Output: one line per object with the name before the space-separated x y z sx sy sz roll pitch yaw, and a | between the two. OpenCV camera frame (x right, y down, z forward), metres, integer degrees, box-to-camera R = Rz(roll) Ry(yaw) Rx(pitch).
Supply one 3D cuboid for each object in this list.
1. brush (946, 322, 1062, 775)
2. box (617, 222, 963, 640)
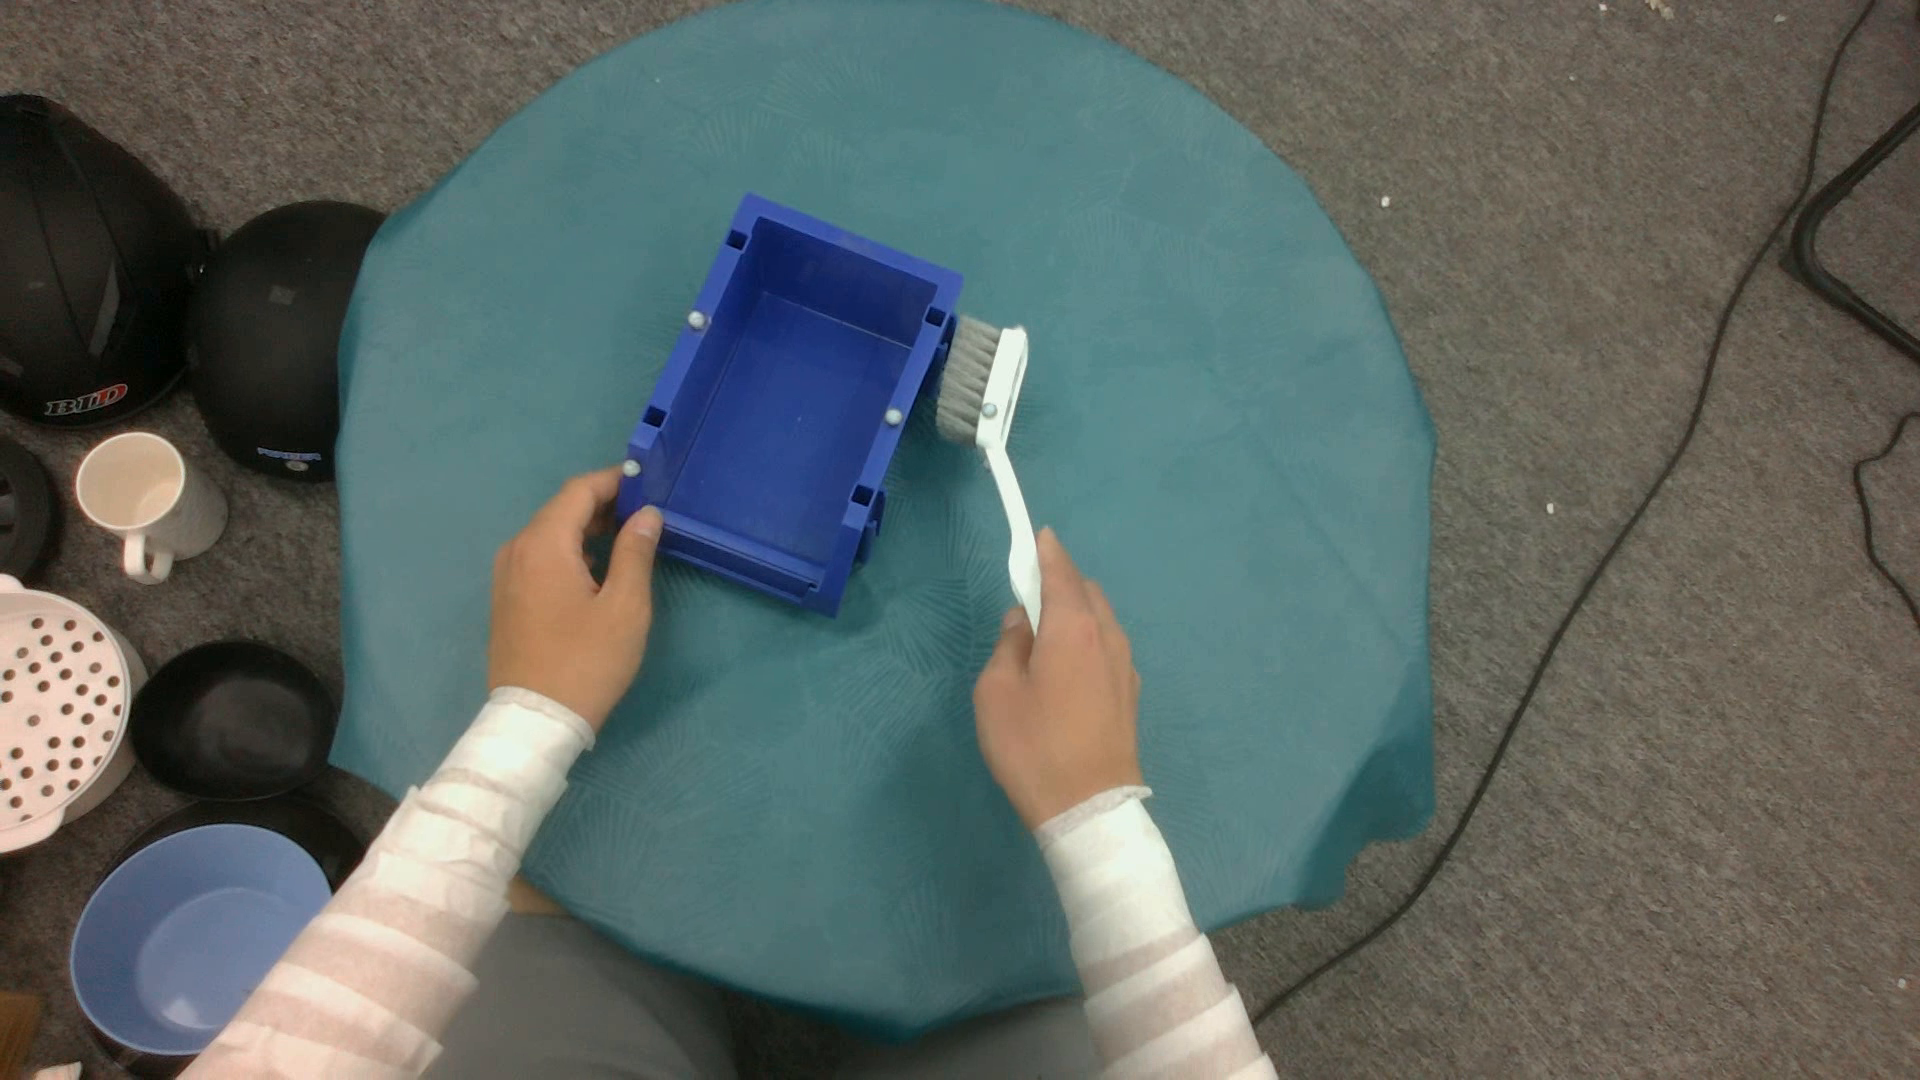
brush | 0.021 0.000 0.704 0.050 0.034 0.244 -5 70 6
box | -0.087 -0.054 0.724 0.124 0.081 0.180 22 69 0
